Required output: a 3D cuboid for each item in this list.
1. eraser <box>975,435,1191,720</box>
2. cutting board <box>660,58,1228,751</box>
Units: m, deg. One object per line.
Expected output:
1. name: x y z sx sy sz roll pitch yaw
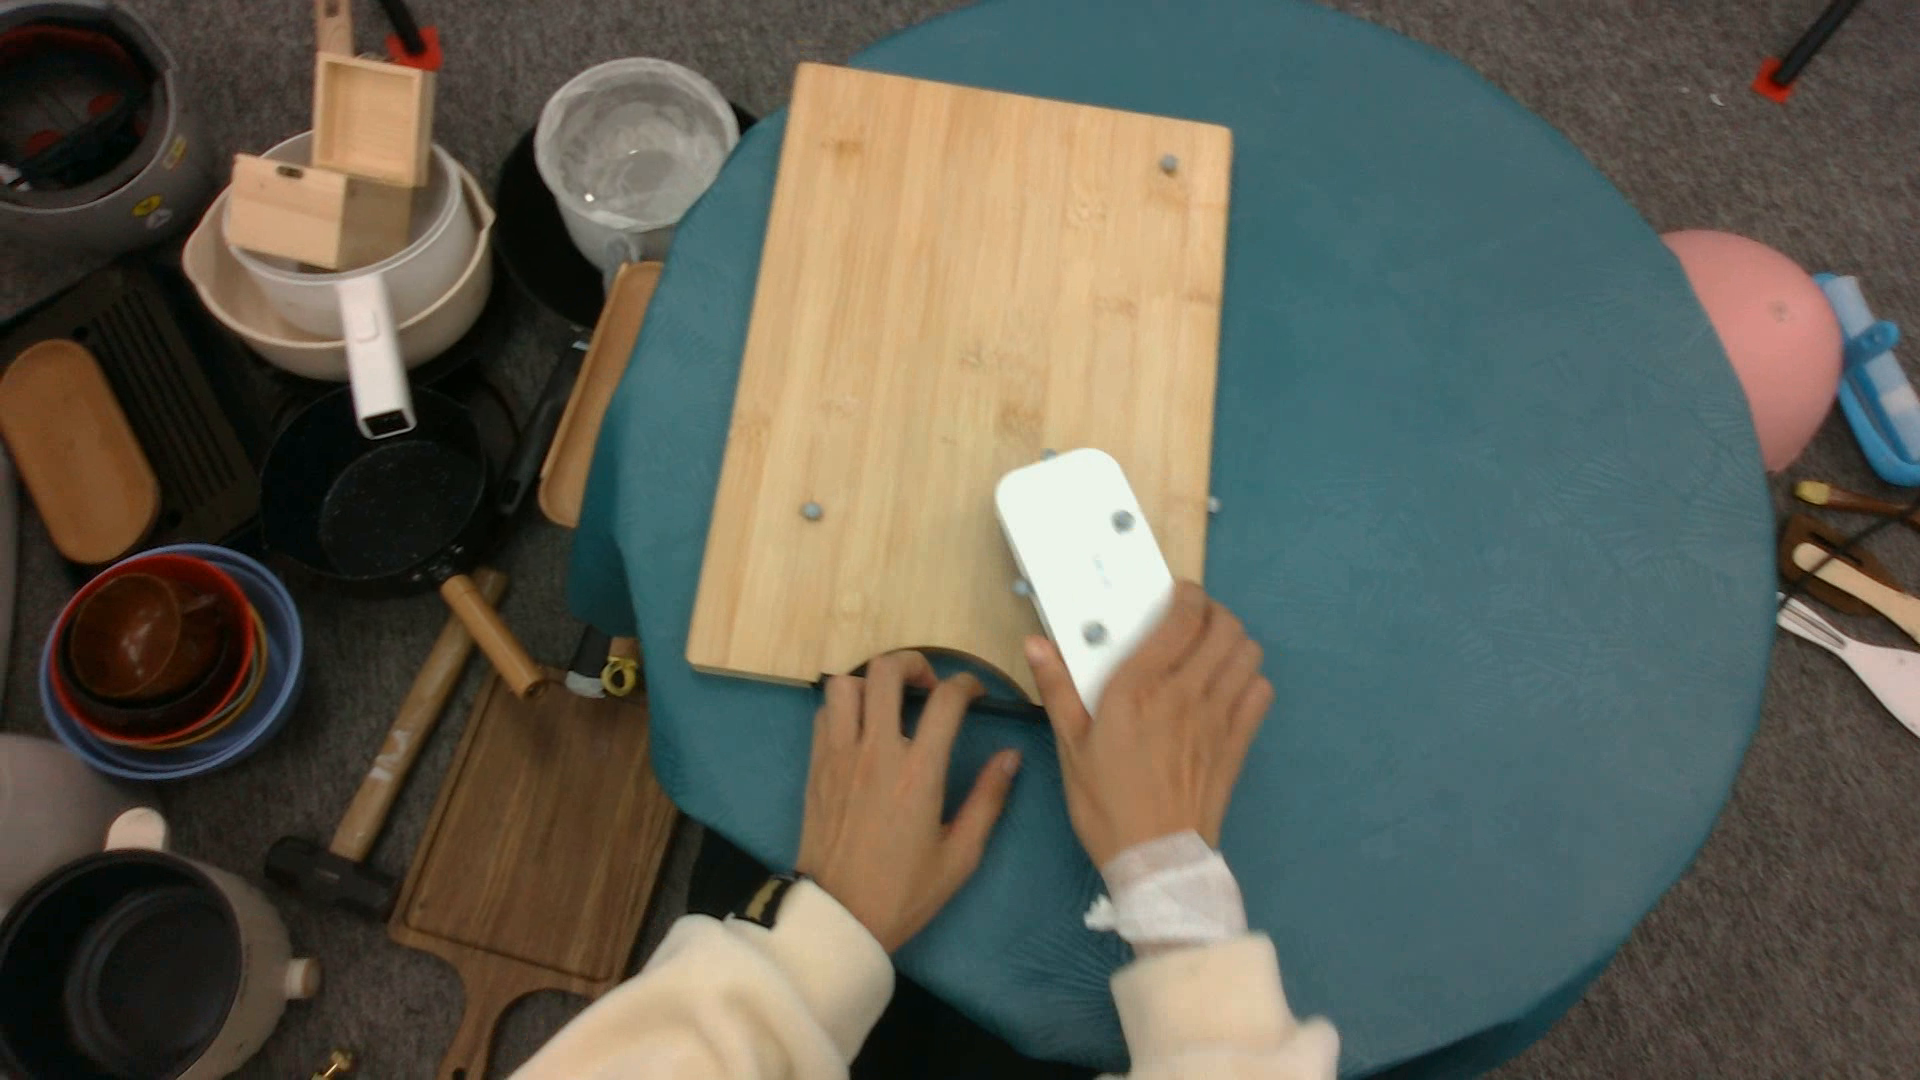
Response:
1. eraser: 0.053 0.016 0.631 0.063 0.034 0.131 -19 72 -12
2. cutting board: 0.003 -0.080 0.705 0.251 0.023 0.349 8 71 -2
